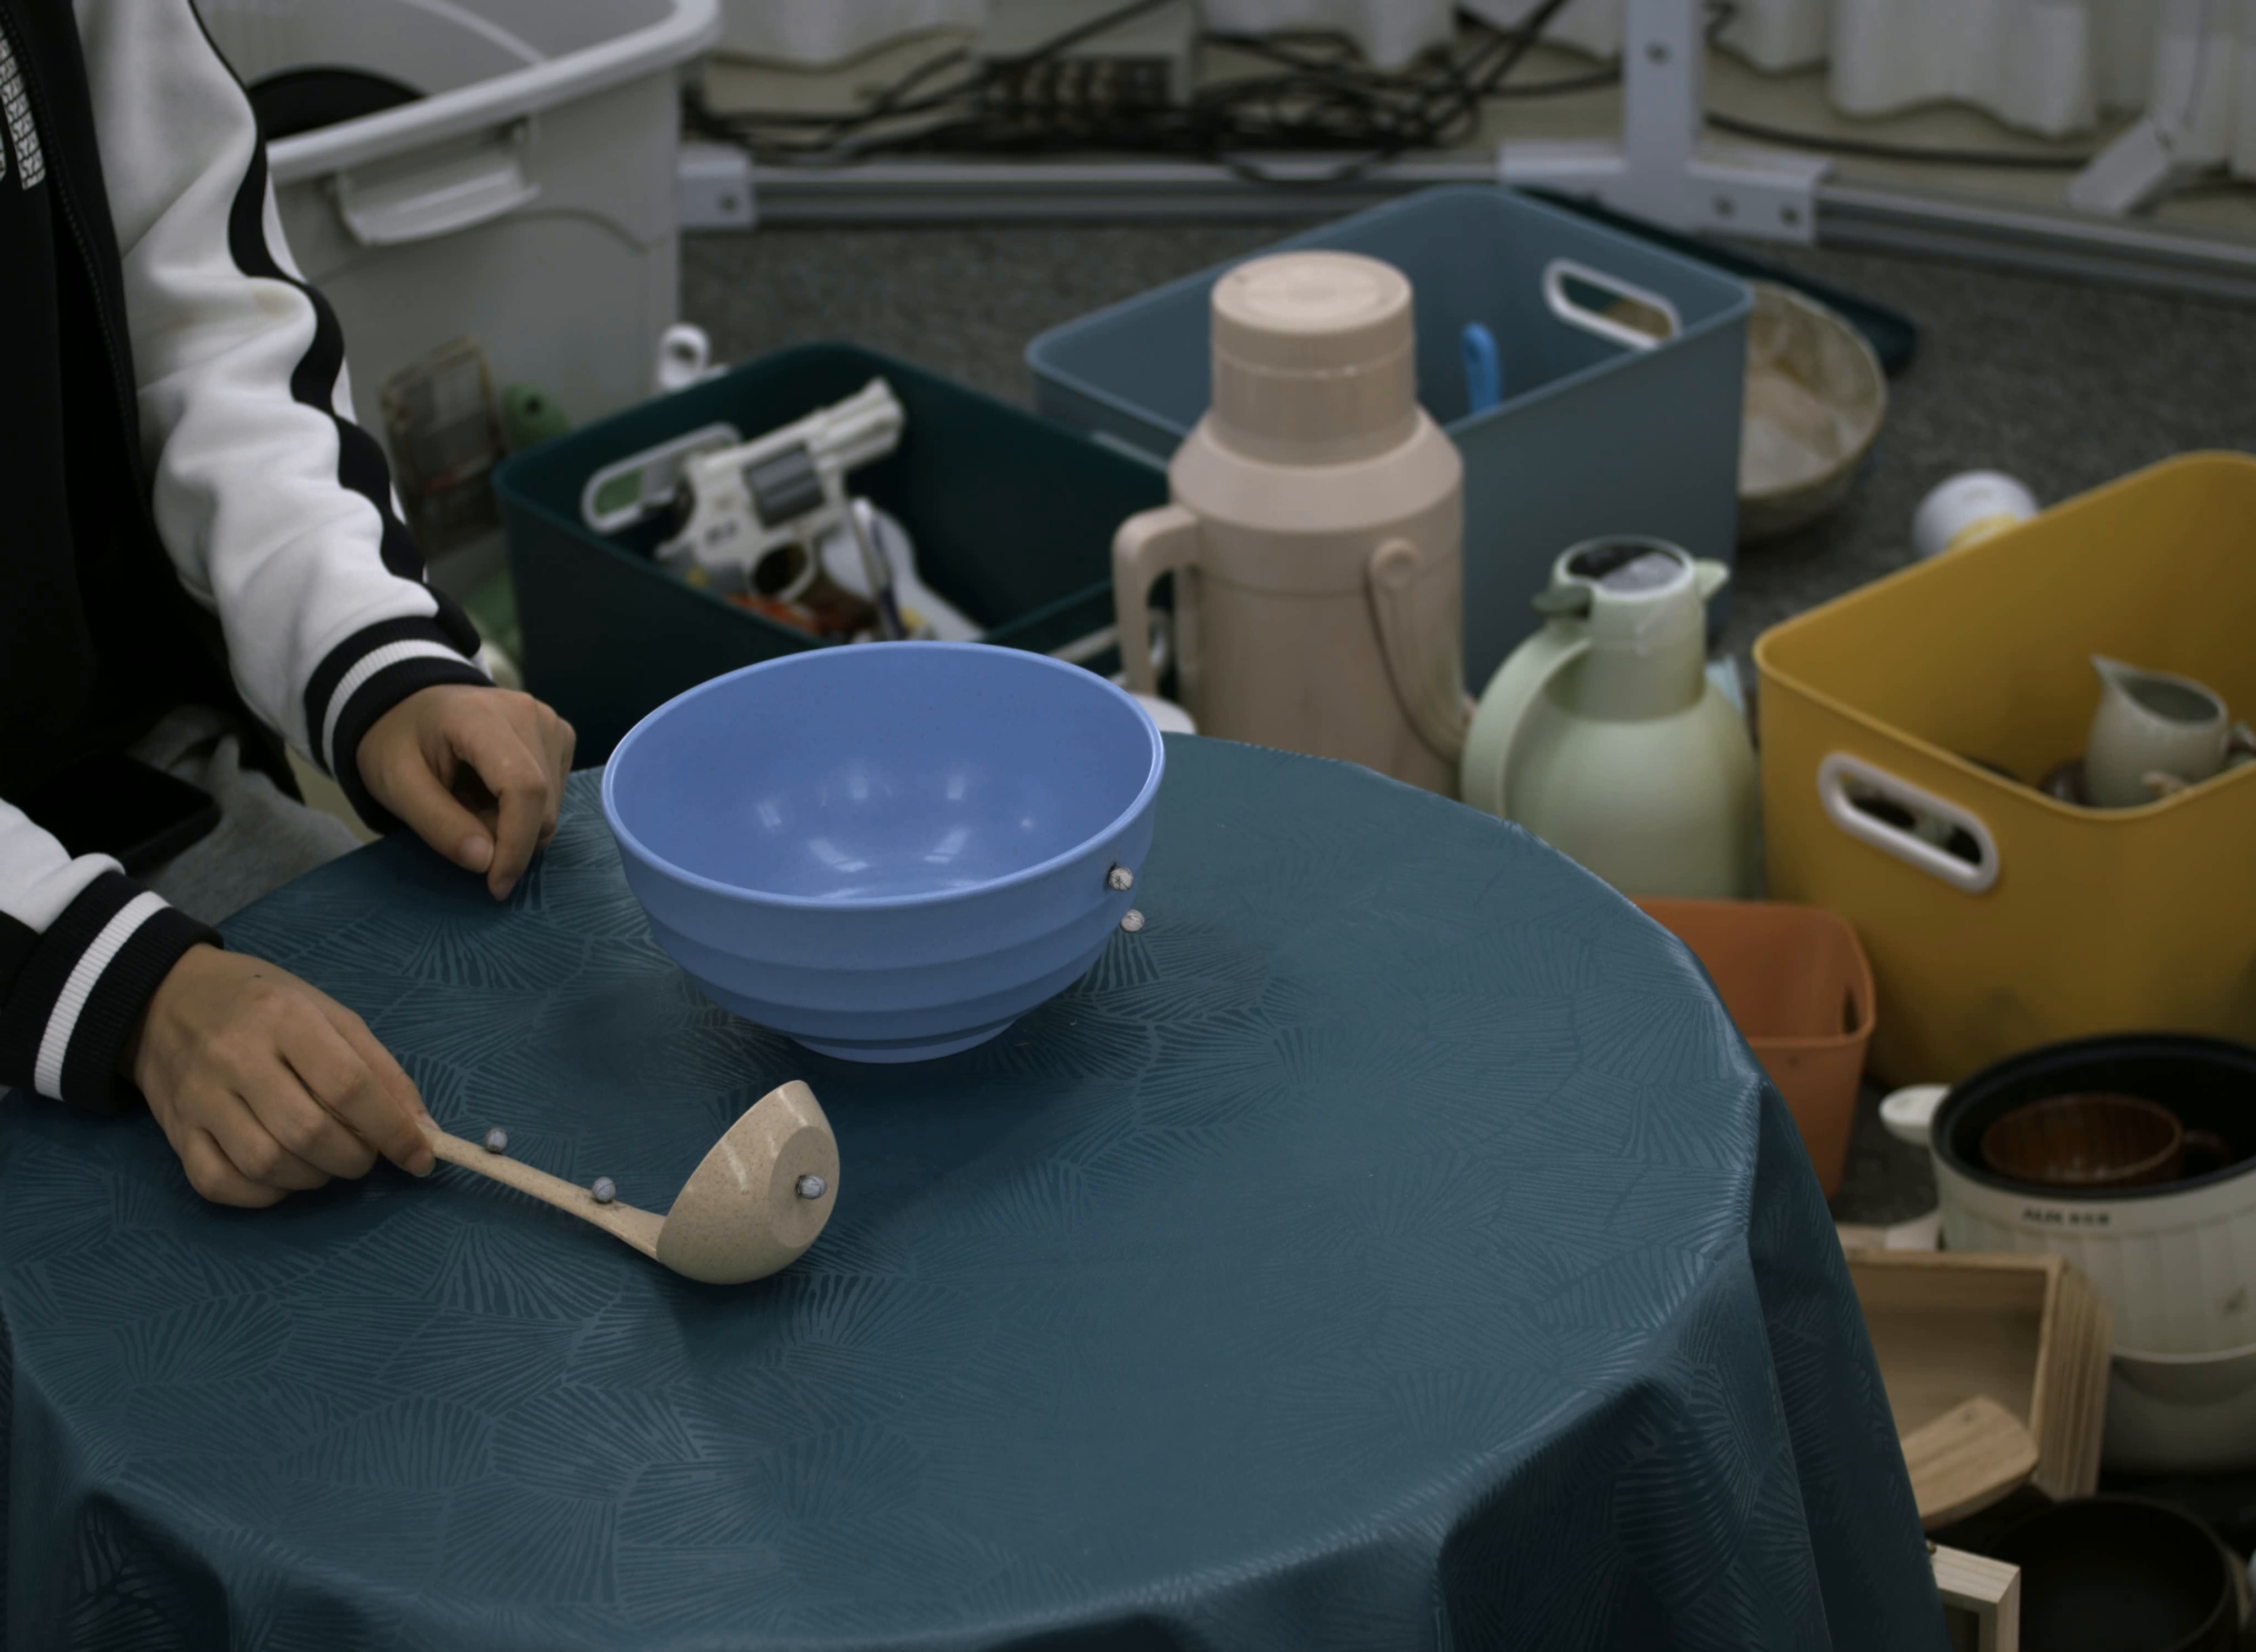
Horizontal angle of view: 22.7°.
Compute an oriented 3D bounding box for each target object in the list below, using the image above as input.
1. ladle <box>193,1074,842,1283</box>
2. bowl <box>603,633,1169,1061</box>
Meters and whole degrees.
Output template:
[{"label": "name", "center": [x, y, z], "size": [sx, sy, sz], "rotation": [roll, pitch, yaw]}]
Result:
[{"label": "ladle", "center": [-0.210, 0.091, 1.857], "size": [0.253, 0.072, 0.073], "rotation": [14, 26, 27]}, {"label": "bowl", "center": [-0.083, 0.019, 1.964], "size": [0.195, 0.094, 0.199], "rotation": [0, 28, 0]}]
